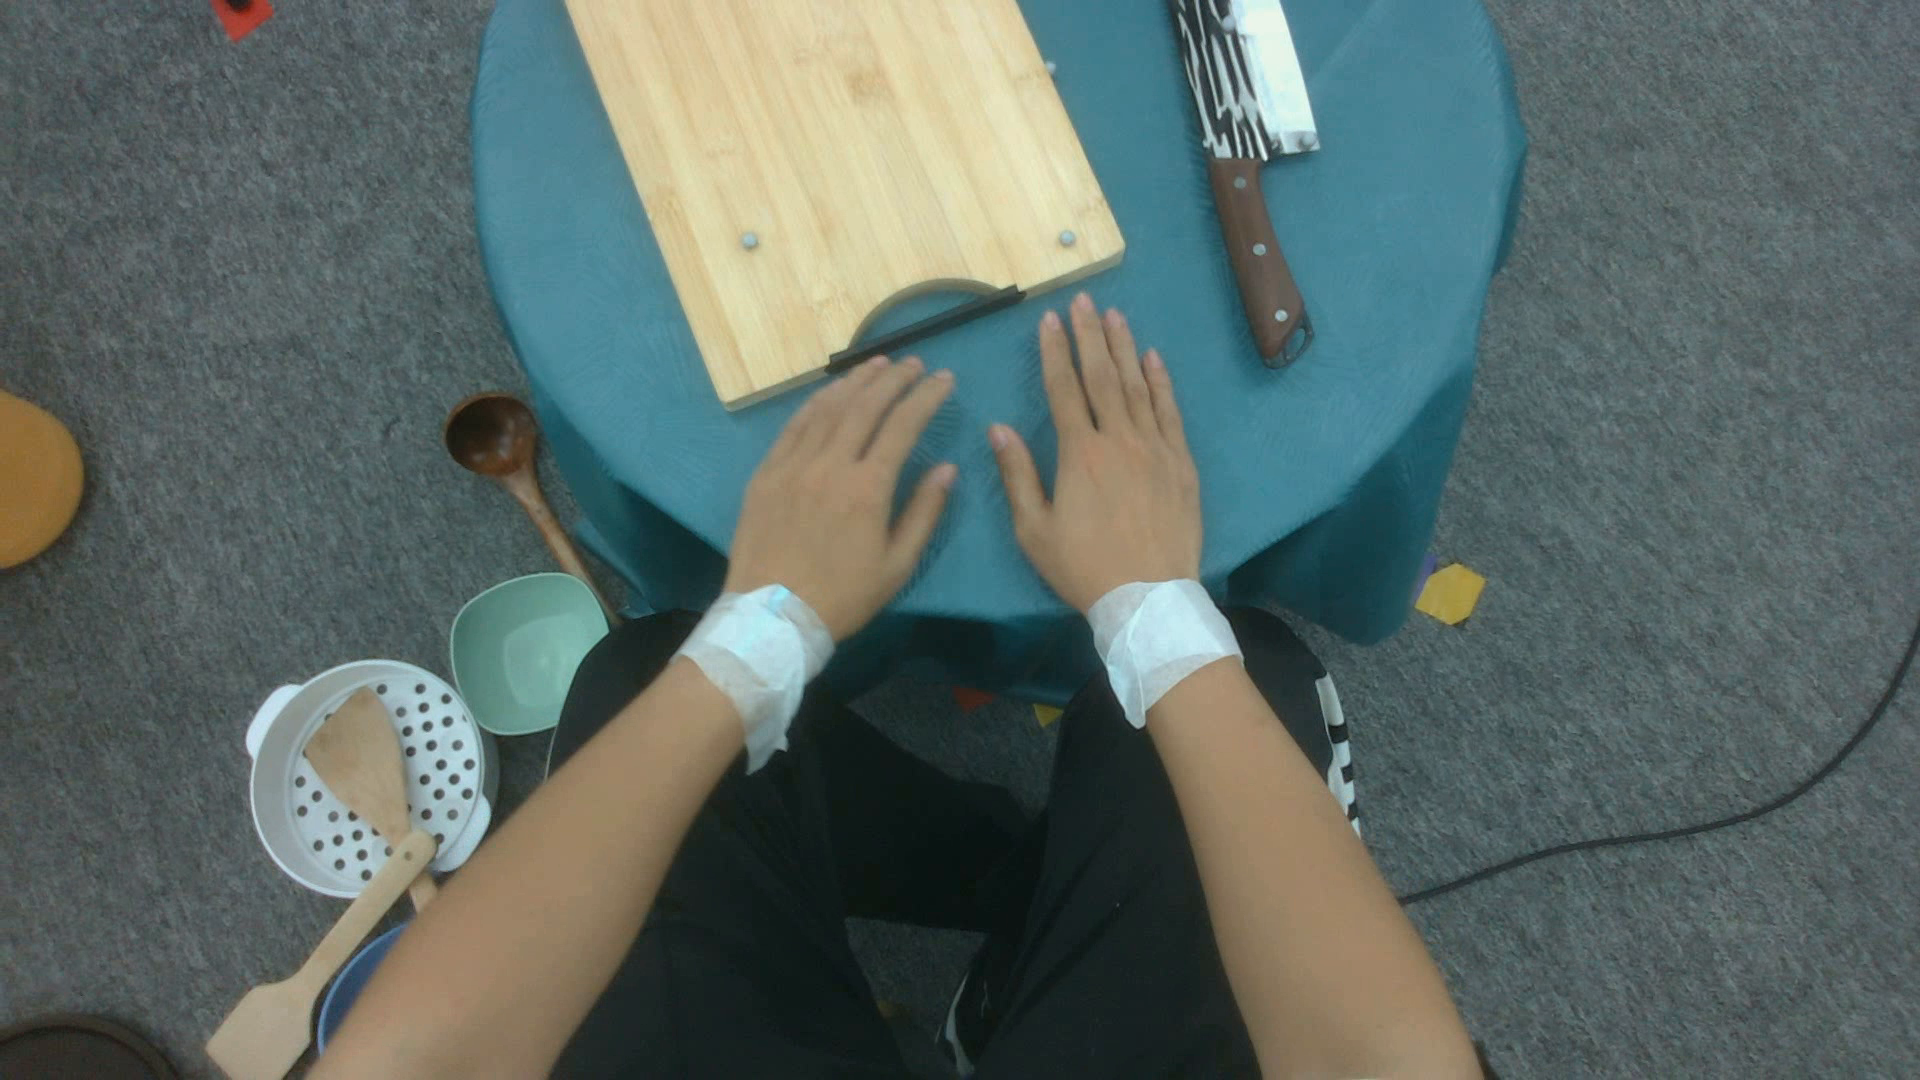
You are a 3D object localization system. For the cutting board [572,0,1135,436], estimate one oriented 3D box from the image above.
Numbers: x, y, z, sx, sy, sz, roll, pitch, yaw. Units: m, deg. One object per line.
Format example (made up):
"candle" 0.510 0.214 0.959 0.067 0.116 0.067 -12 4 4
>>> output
"cutting board" -0.076 -0.259 0.809 0.251 0.023 0.349 -23 78 -5

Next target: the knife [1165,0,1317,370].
"knife" 0.170 -0.240 0.801 0.068 0.024 0.300 -8 74 -5
